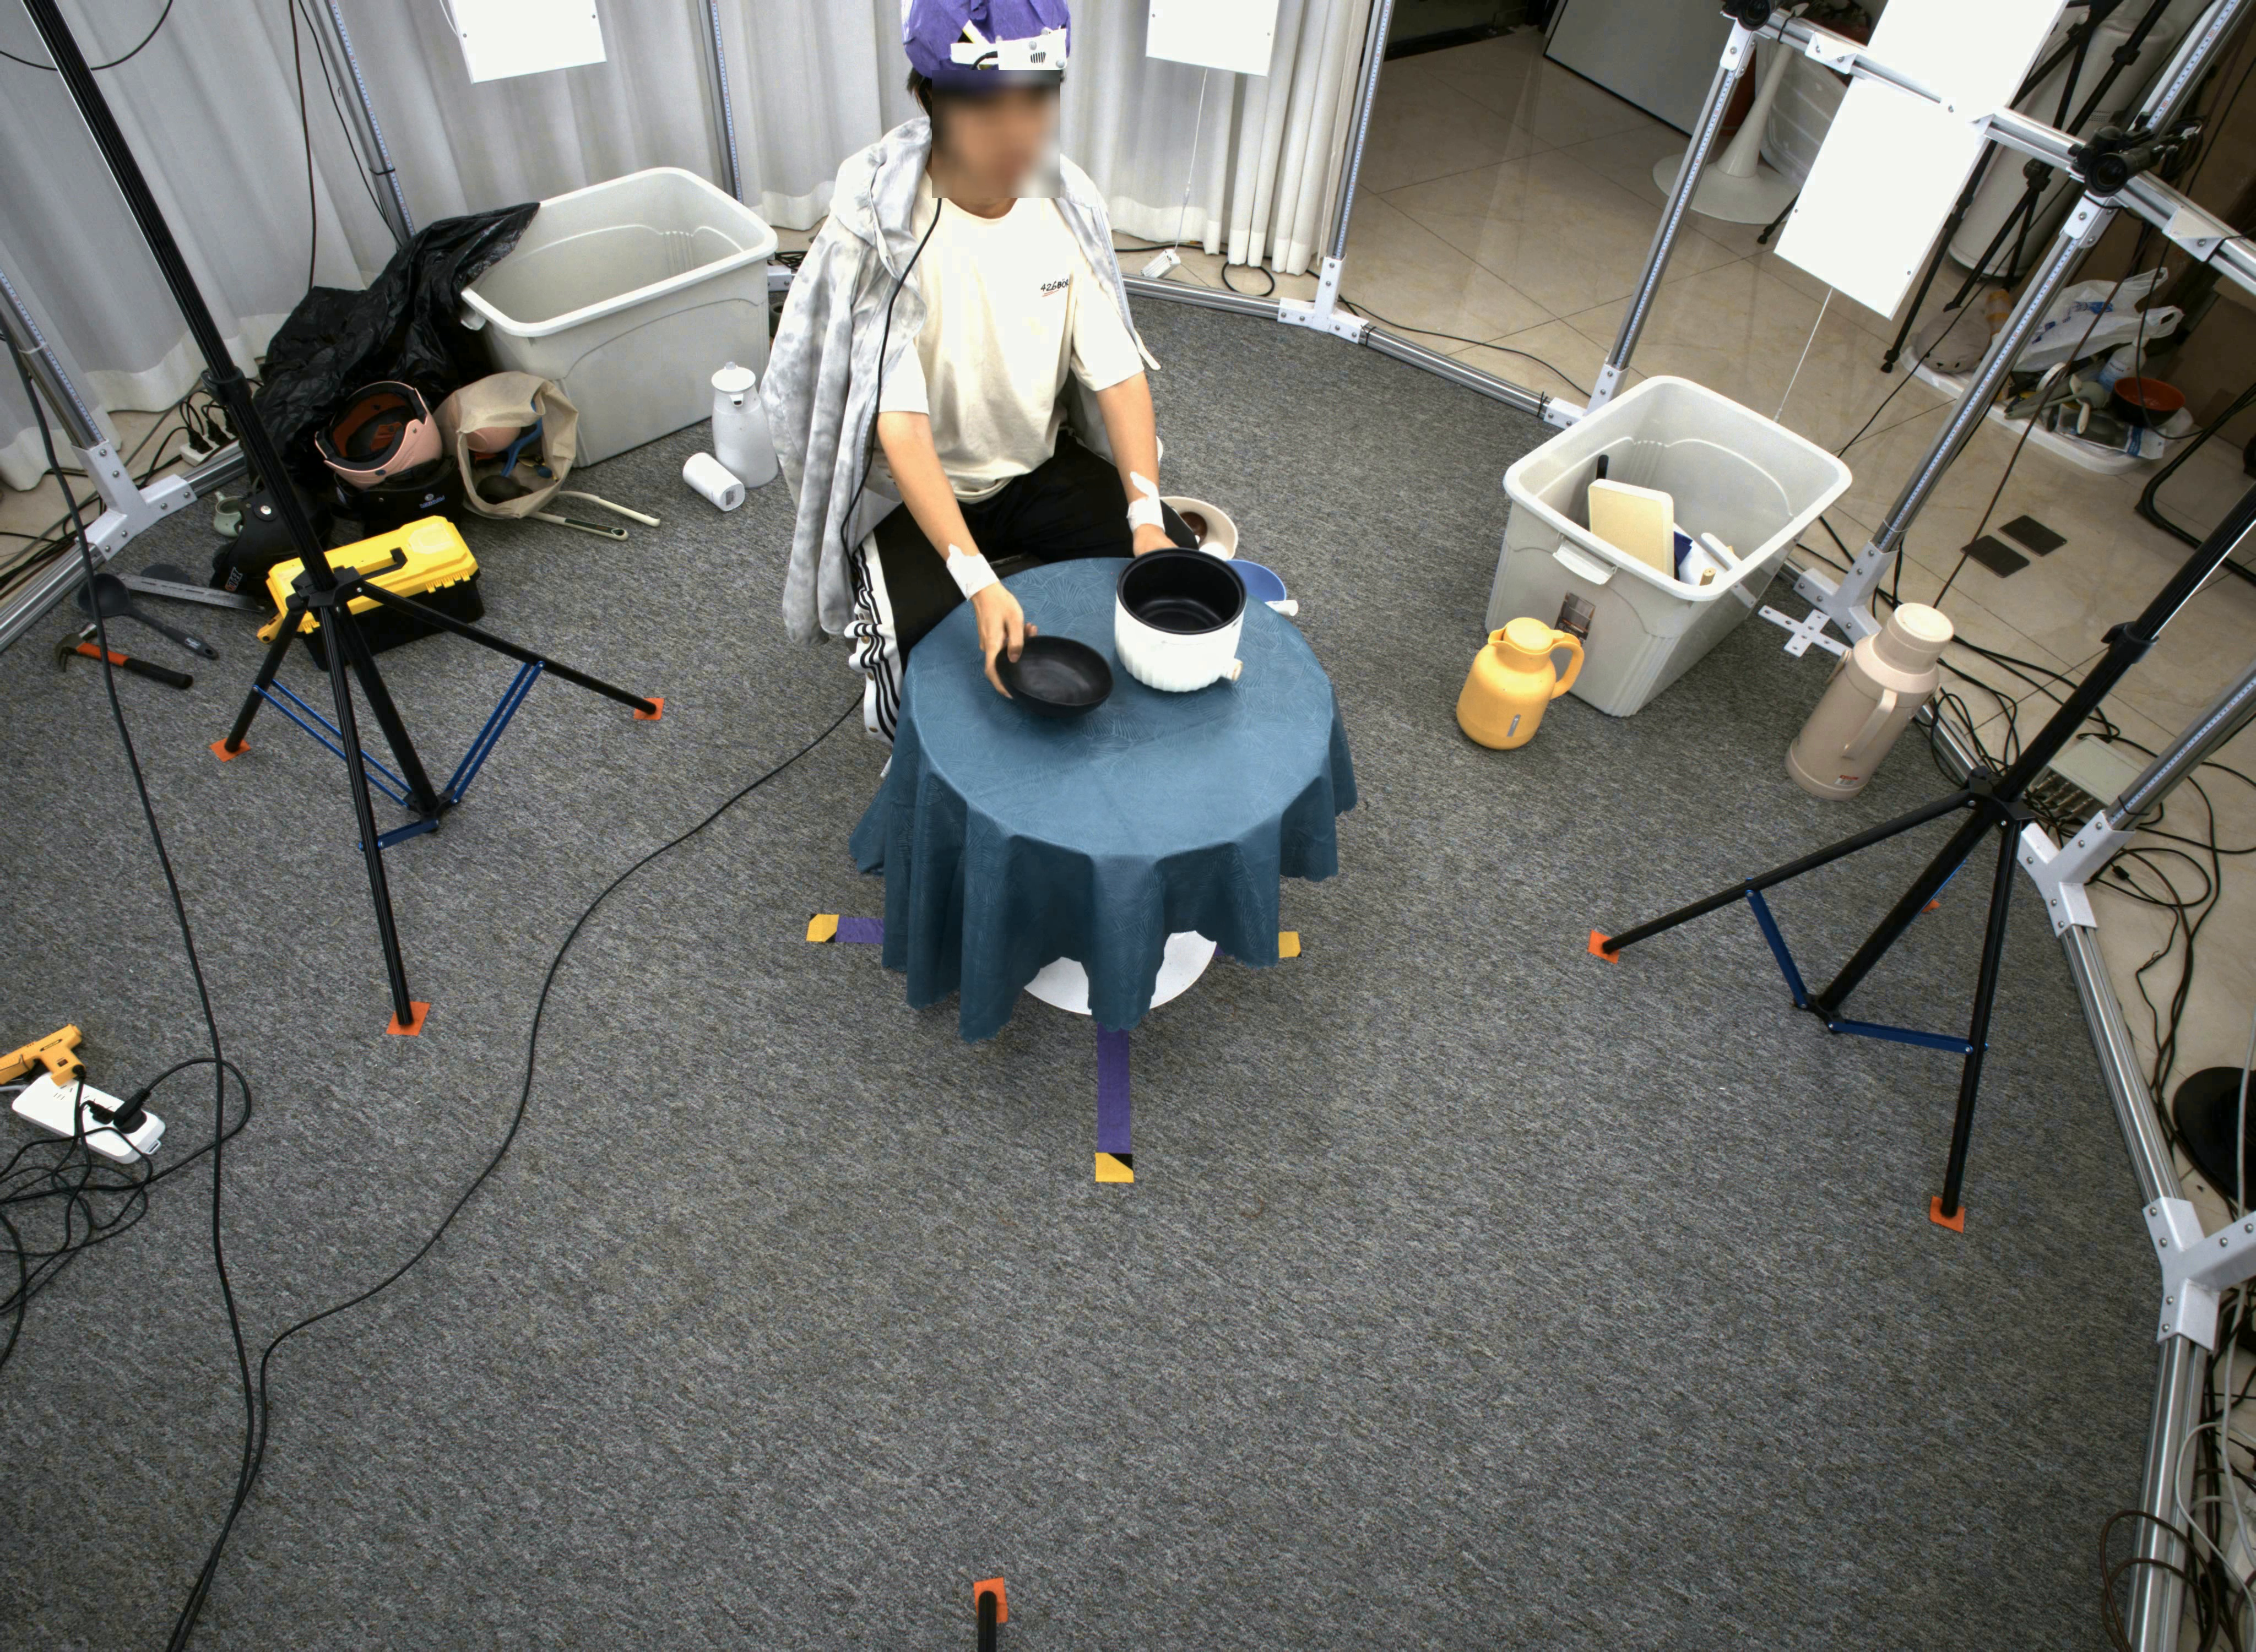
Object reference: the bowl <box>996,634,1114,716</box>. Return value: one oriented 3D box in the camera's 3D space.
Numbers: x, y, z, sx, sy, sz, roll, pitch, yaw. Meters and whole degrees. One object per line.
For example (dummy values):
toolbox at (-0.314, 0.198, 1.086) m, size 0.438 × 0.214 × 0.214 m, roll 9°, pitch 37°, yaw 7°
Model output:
bowl at (-0.103, -0.197, 1.769) m, size 0.171 × 0.065 × 0.140 m, roll 22°, pitch 47°, yaw 14°

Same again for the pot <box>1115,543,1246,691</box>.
pot at (0.076, -0.286, 1.825) m, size 0.192 × 0.139 × 0.244 m, roll 21°, pitch 51°, yaw 18°
